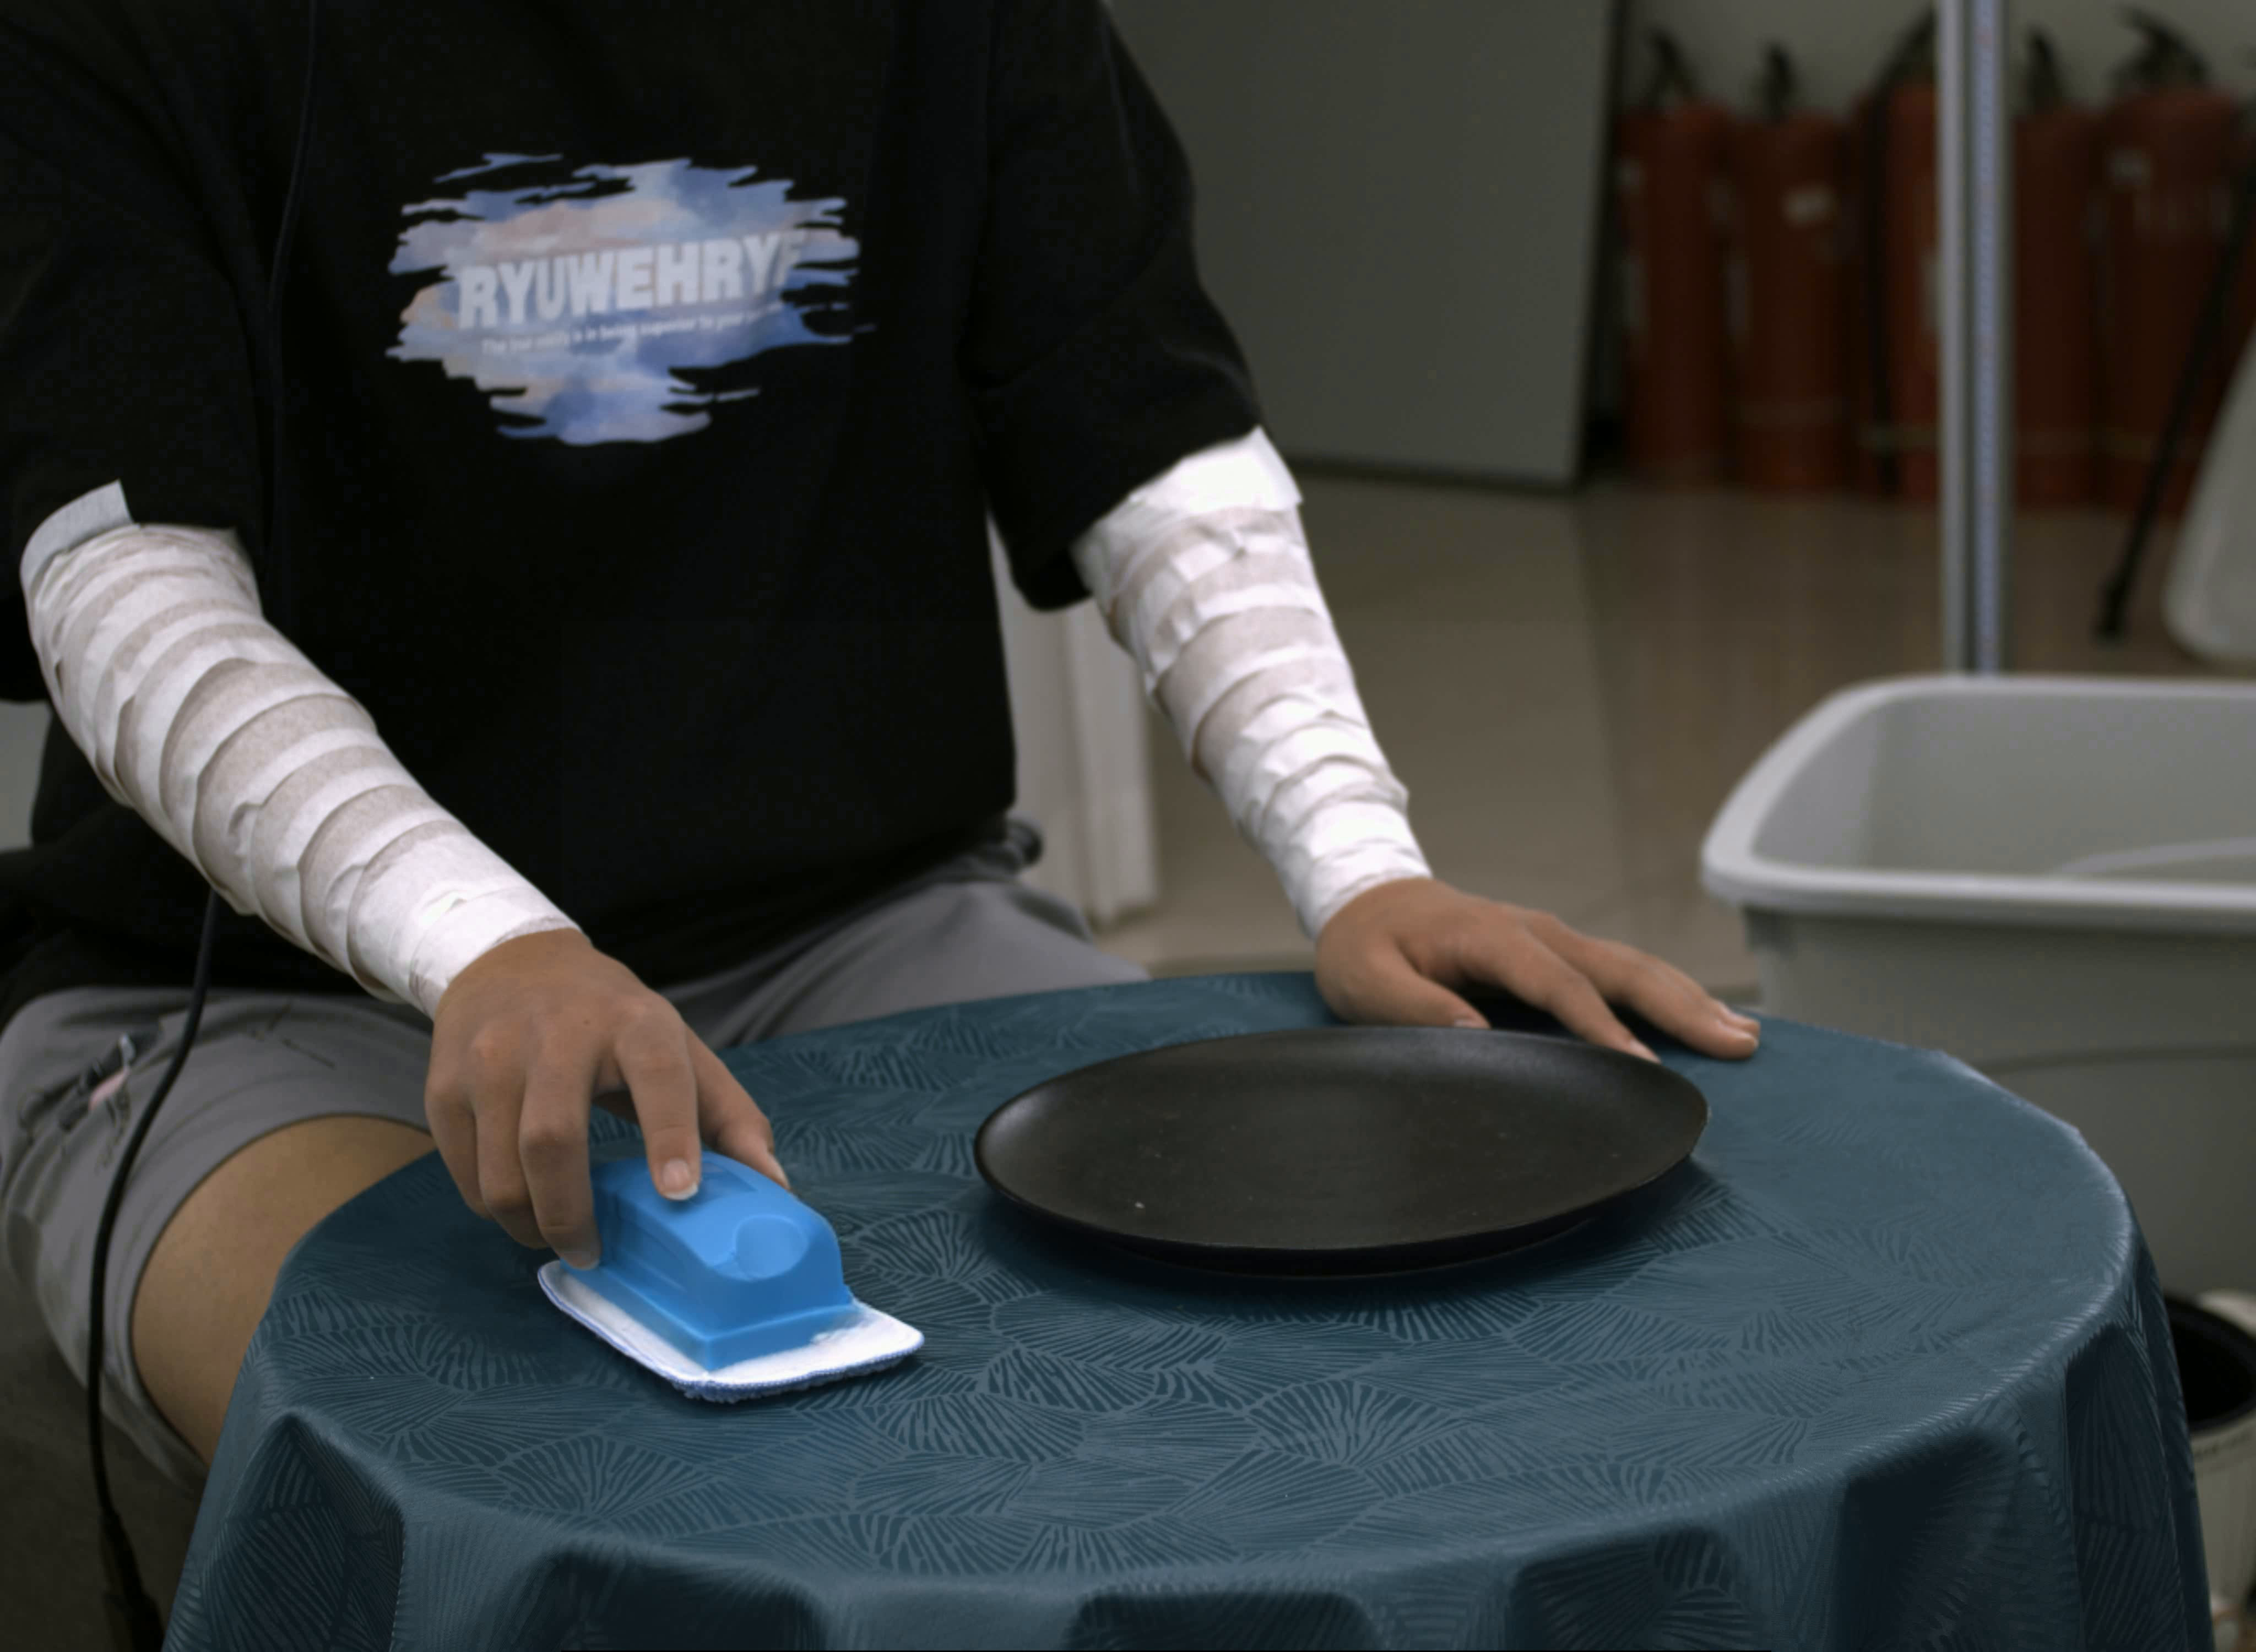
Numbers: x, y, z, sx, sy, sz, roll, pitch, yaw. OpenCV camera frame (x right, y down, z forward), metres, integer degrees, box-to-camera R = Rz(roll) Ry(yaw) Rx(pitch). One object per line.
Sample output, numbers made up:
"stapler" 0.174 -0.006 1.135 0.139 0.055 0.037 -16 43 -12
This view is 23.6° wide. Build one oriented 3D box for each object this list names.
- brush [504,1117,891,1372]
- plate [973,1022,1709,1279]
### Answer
"brush" -0.132 0.126 1.657 0.082 0.056 0.145 -7 16 -27
"plate" 0.069 0.108 1.756 0.241 0.024 0.245 -4 14 0
